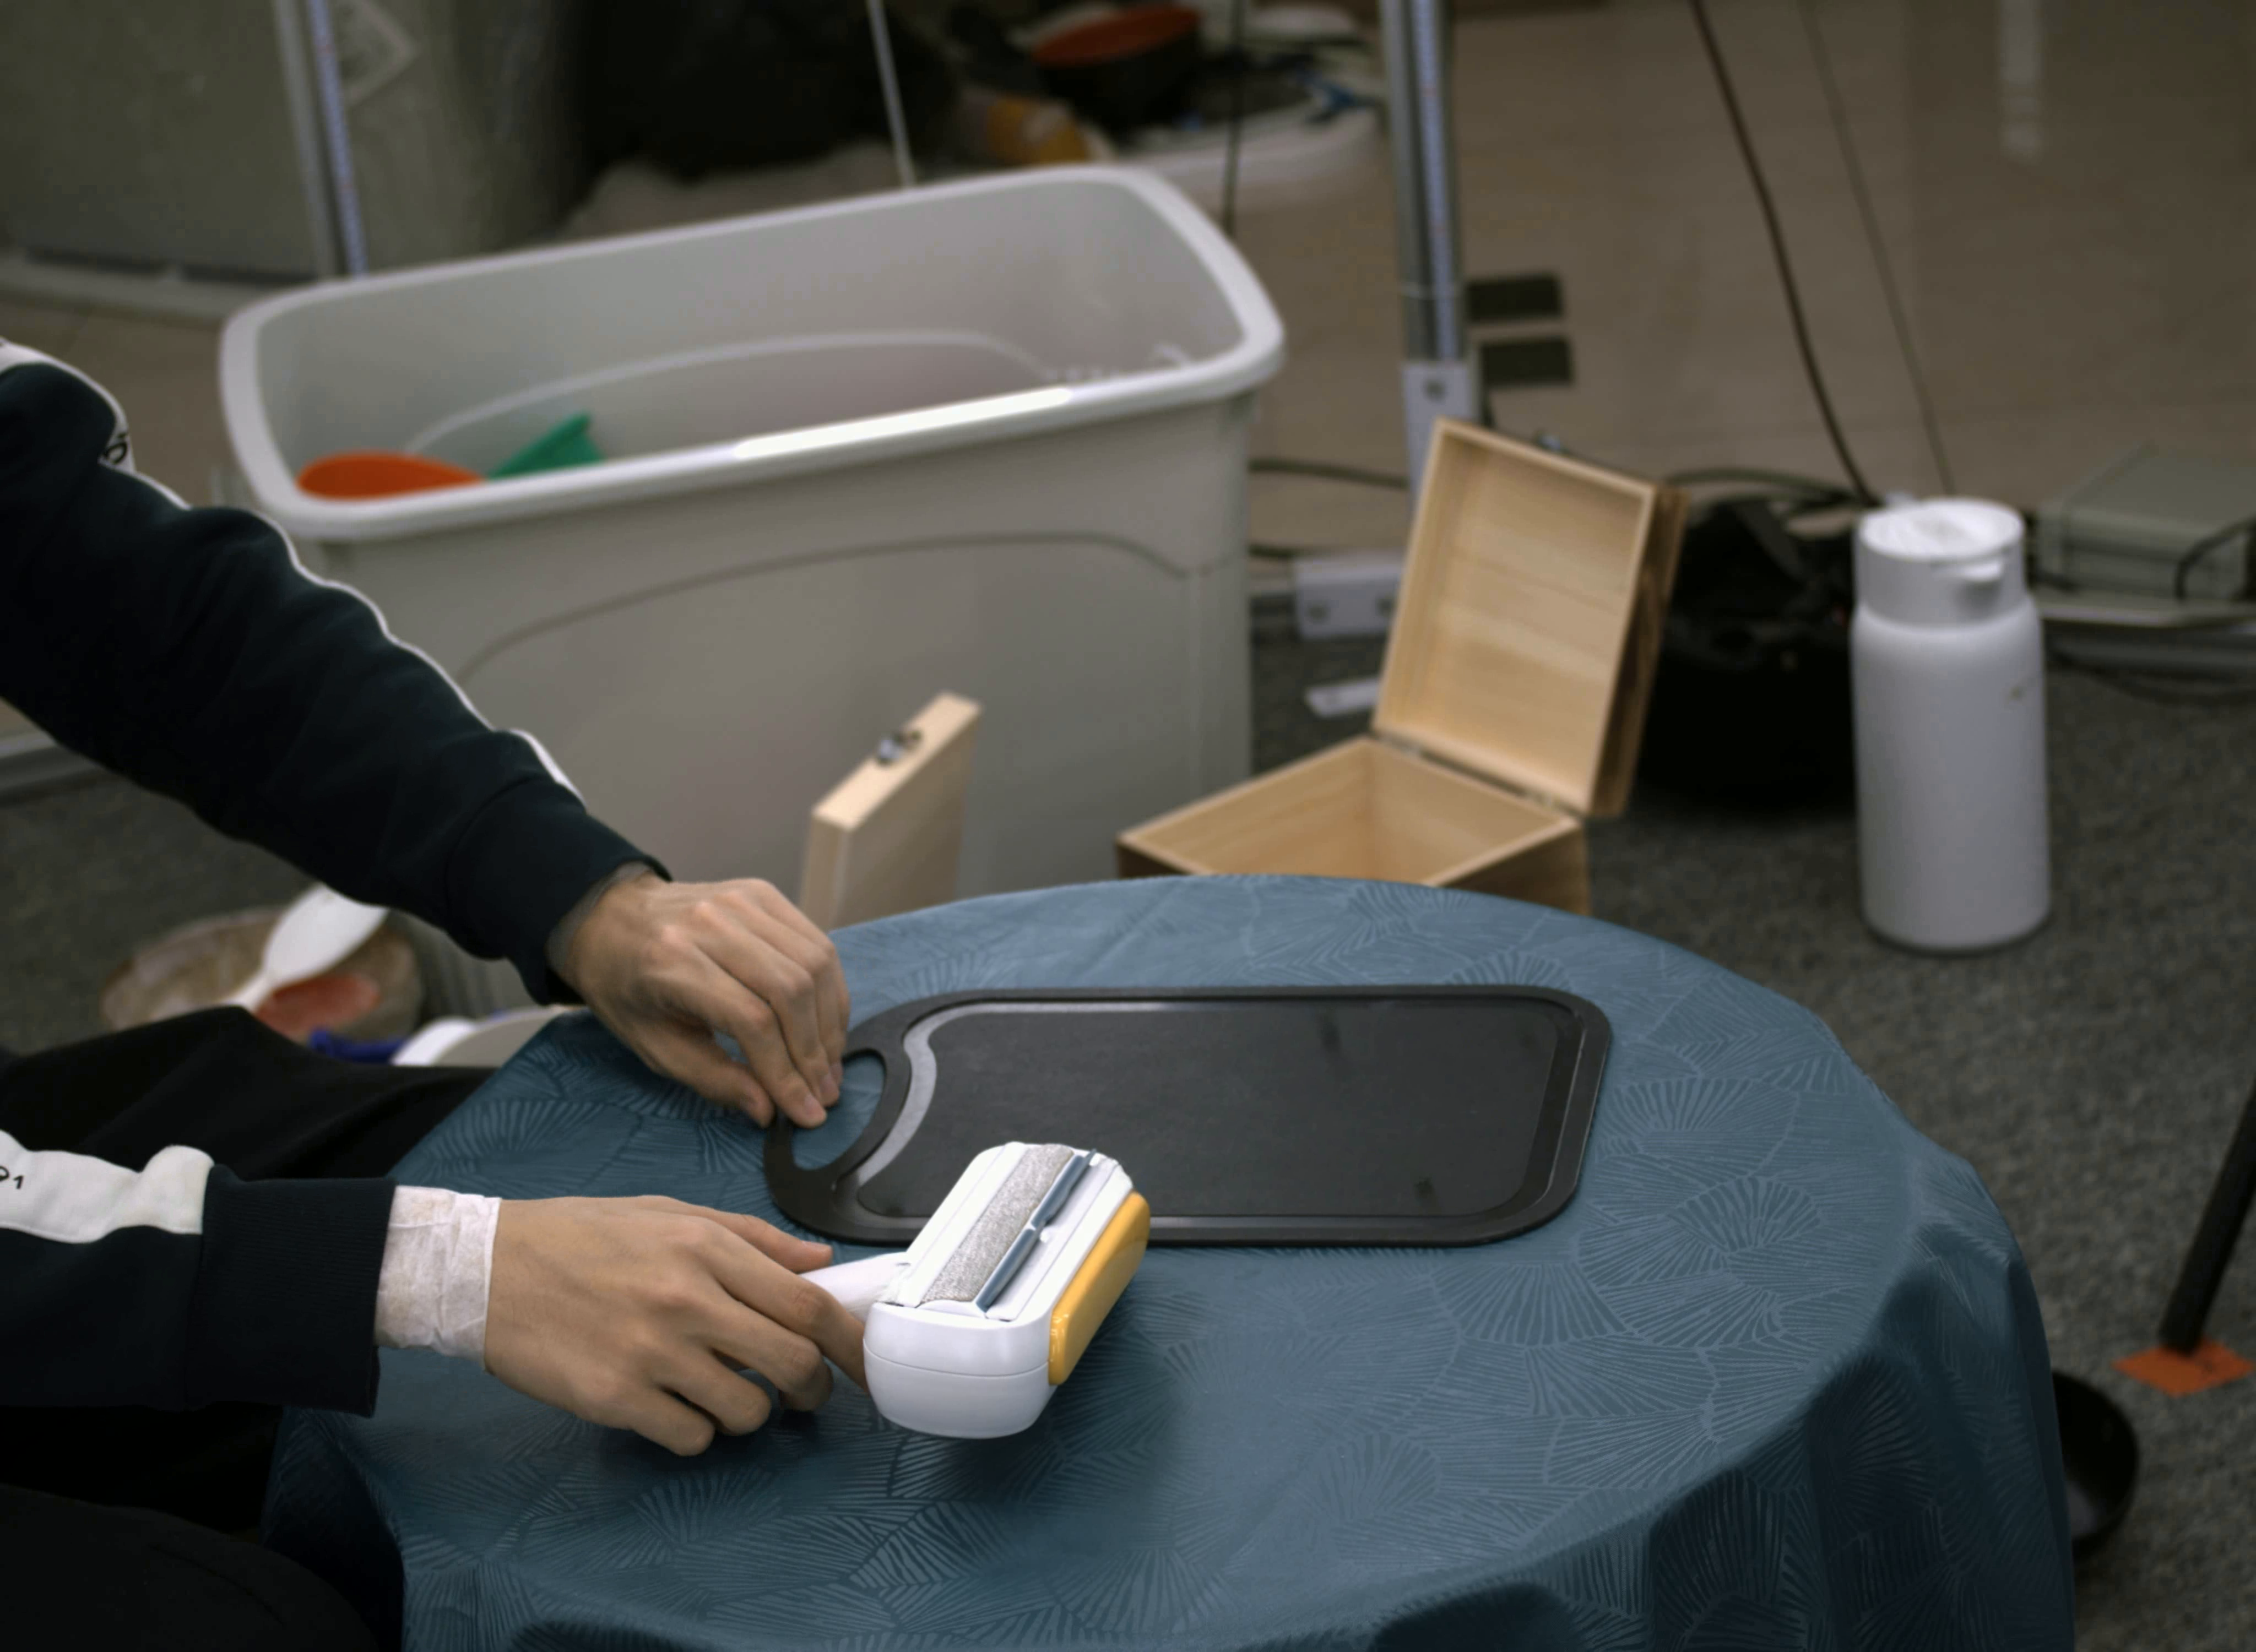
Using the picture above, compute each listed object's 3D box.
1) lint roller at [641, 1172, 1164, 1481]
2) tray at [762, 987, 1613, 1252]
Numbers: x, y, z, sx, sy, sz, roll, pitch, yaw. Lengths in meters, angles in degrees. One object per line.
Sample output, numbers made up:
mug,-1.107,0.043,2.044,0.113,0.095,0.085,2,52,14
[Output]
lint roller,-0.094,0.189,2.025,0.192,0.075,0.191,-13,14,23
tray,0.019,0.110,2.194,0.325,0.010,0.208,-1,25,12
